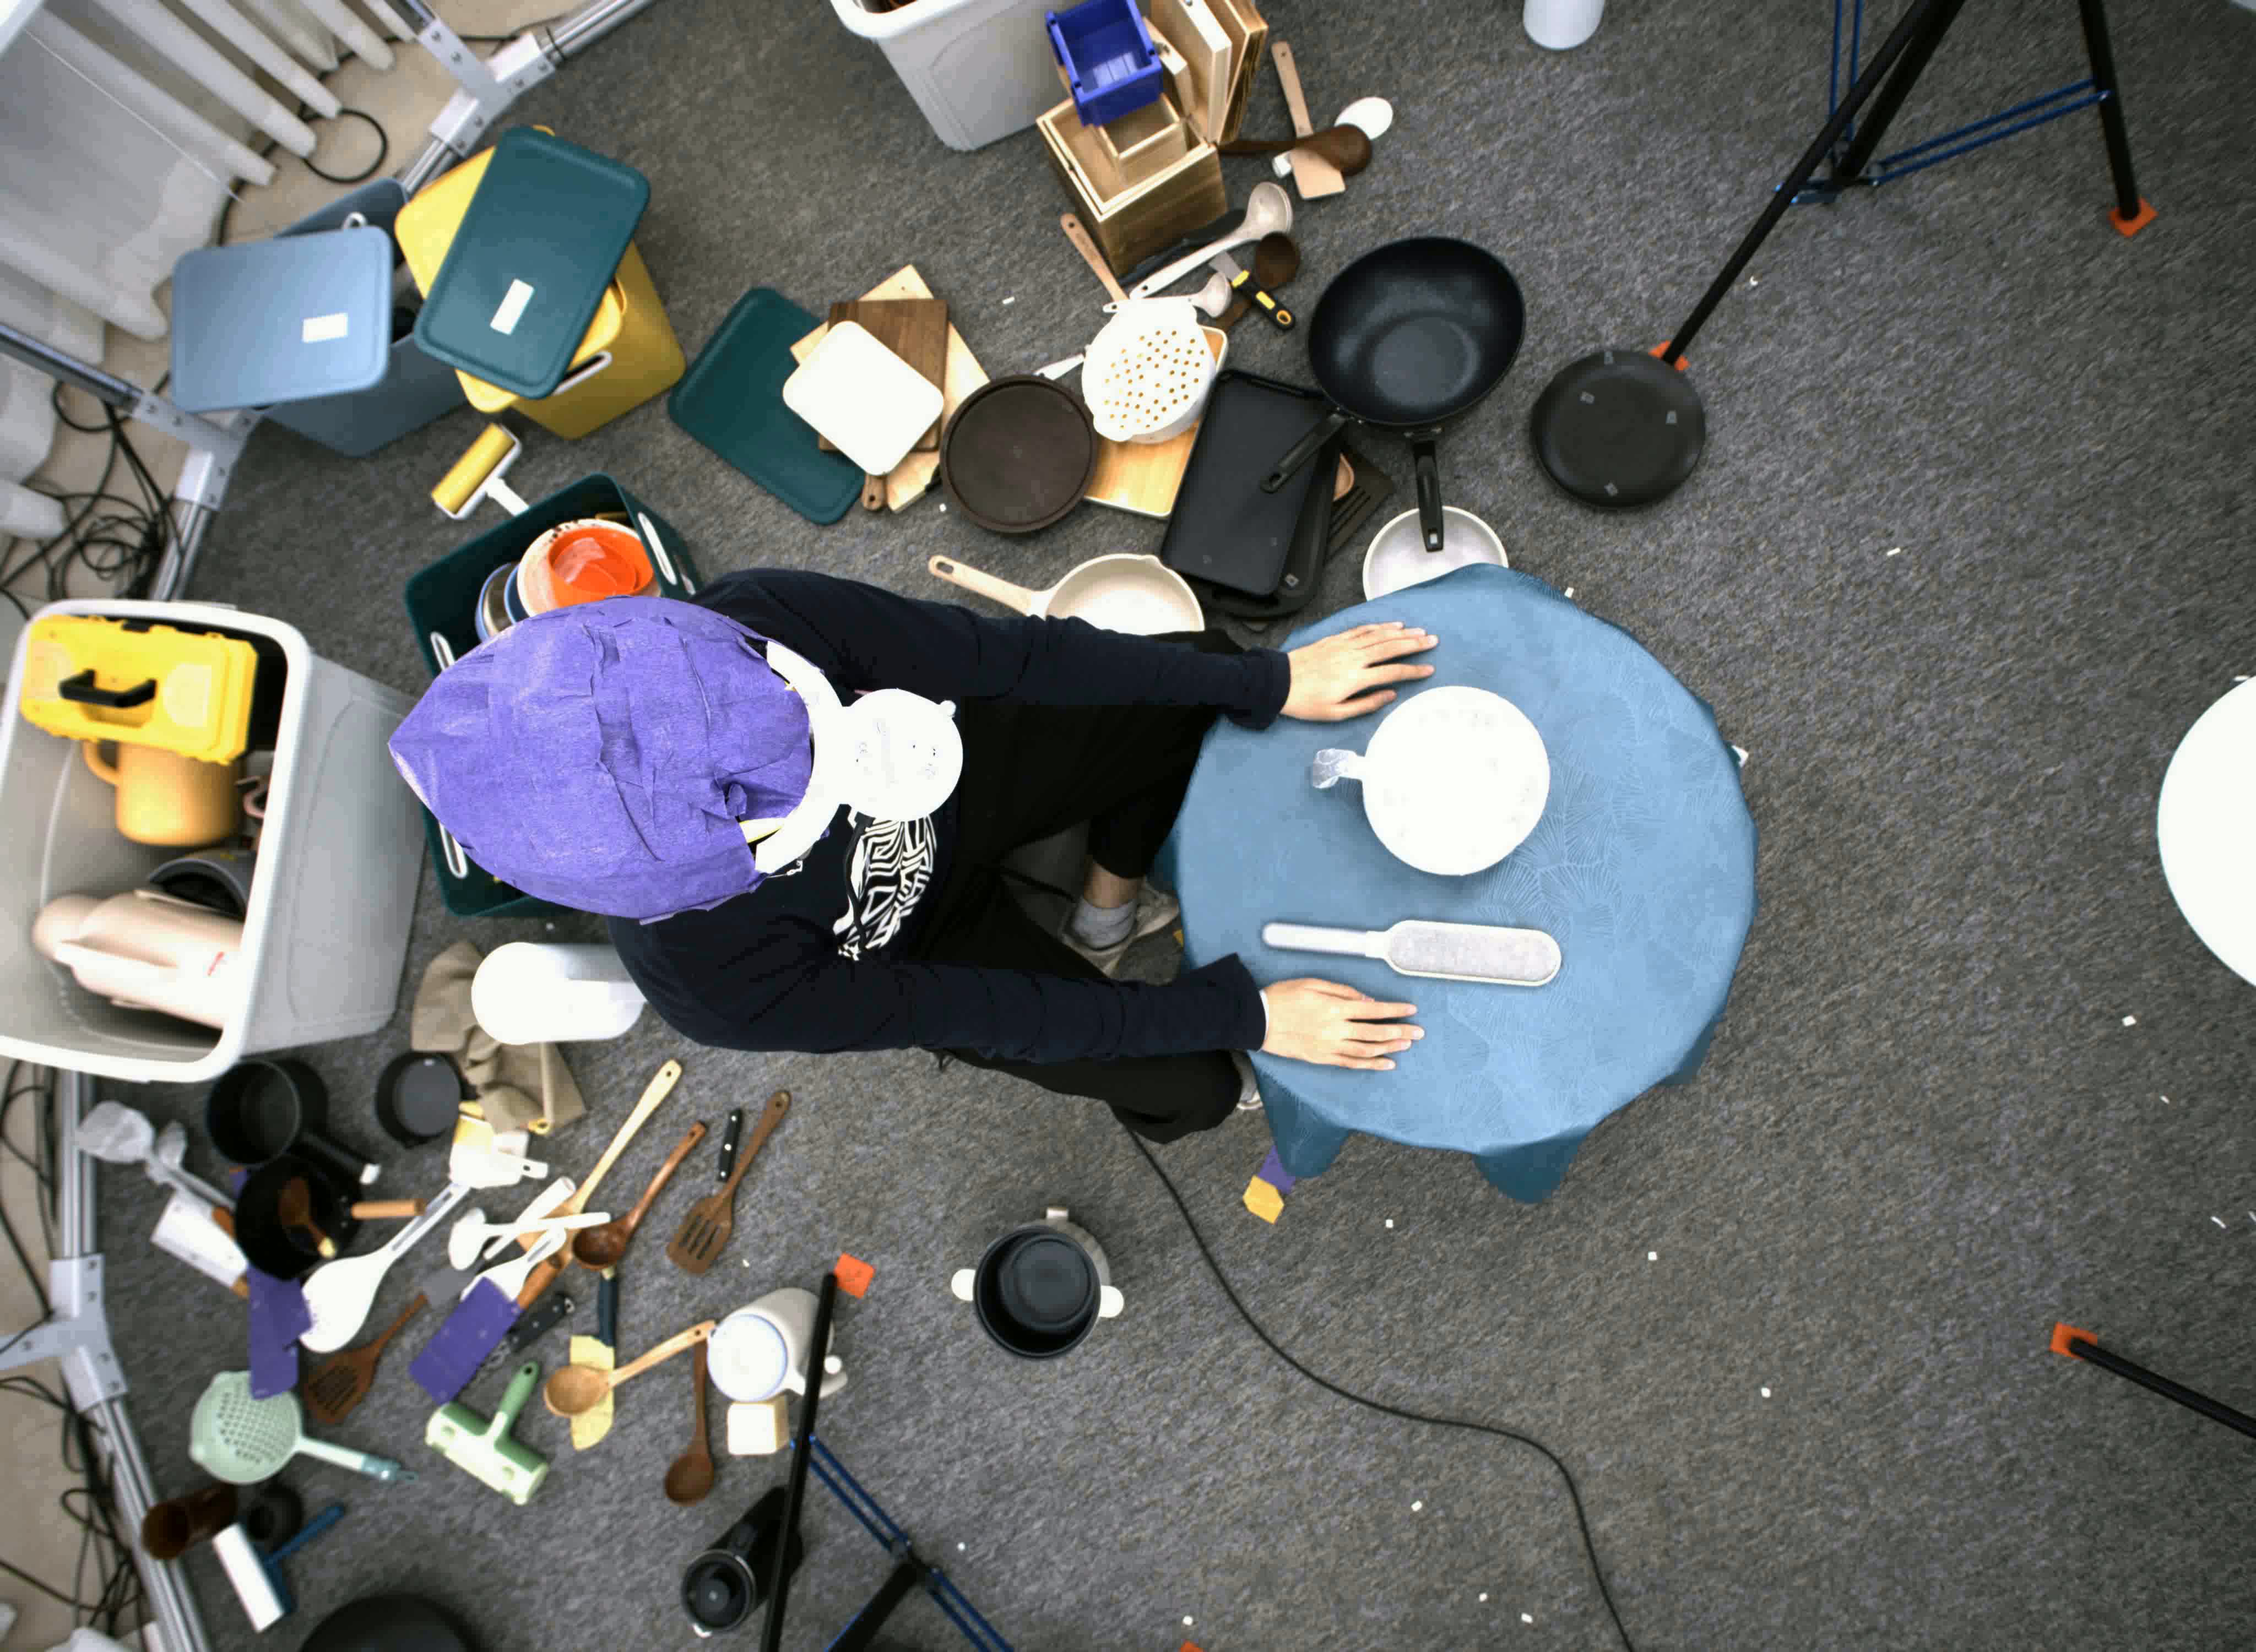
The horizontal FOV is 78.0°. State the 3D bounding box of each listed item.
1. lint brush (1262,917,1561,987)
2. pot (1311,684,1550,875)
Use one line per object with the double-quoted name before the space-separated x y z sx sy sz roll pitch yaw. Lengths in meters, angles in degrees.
"lint brush" 0.293 0.123 1.439 0.310 0.021 0.060 4 94 11
"pot" 0.300 -0.047 1.390 0.234 0.137 0.178 8 85 11
